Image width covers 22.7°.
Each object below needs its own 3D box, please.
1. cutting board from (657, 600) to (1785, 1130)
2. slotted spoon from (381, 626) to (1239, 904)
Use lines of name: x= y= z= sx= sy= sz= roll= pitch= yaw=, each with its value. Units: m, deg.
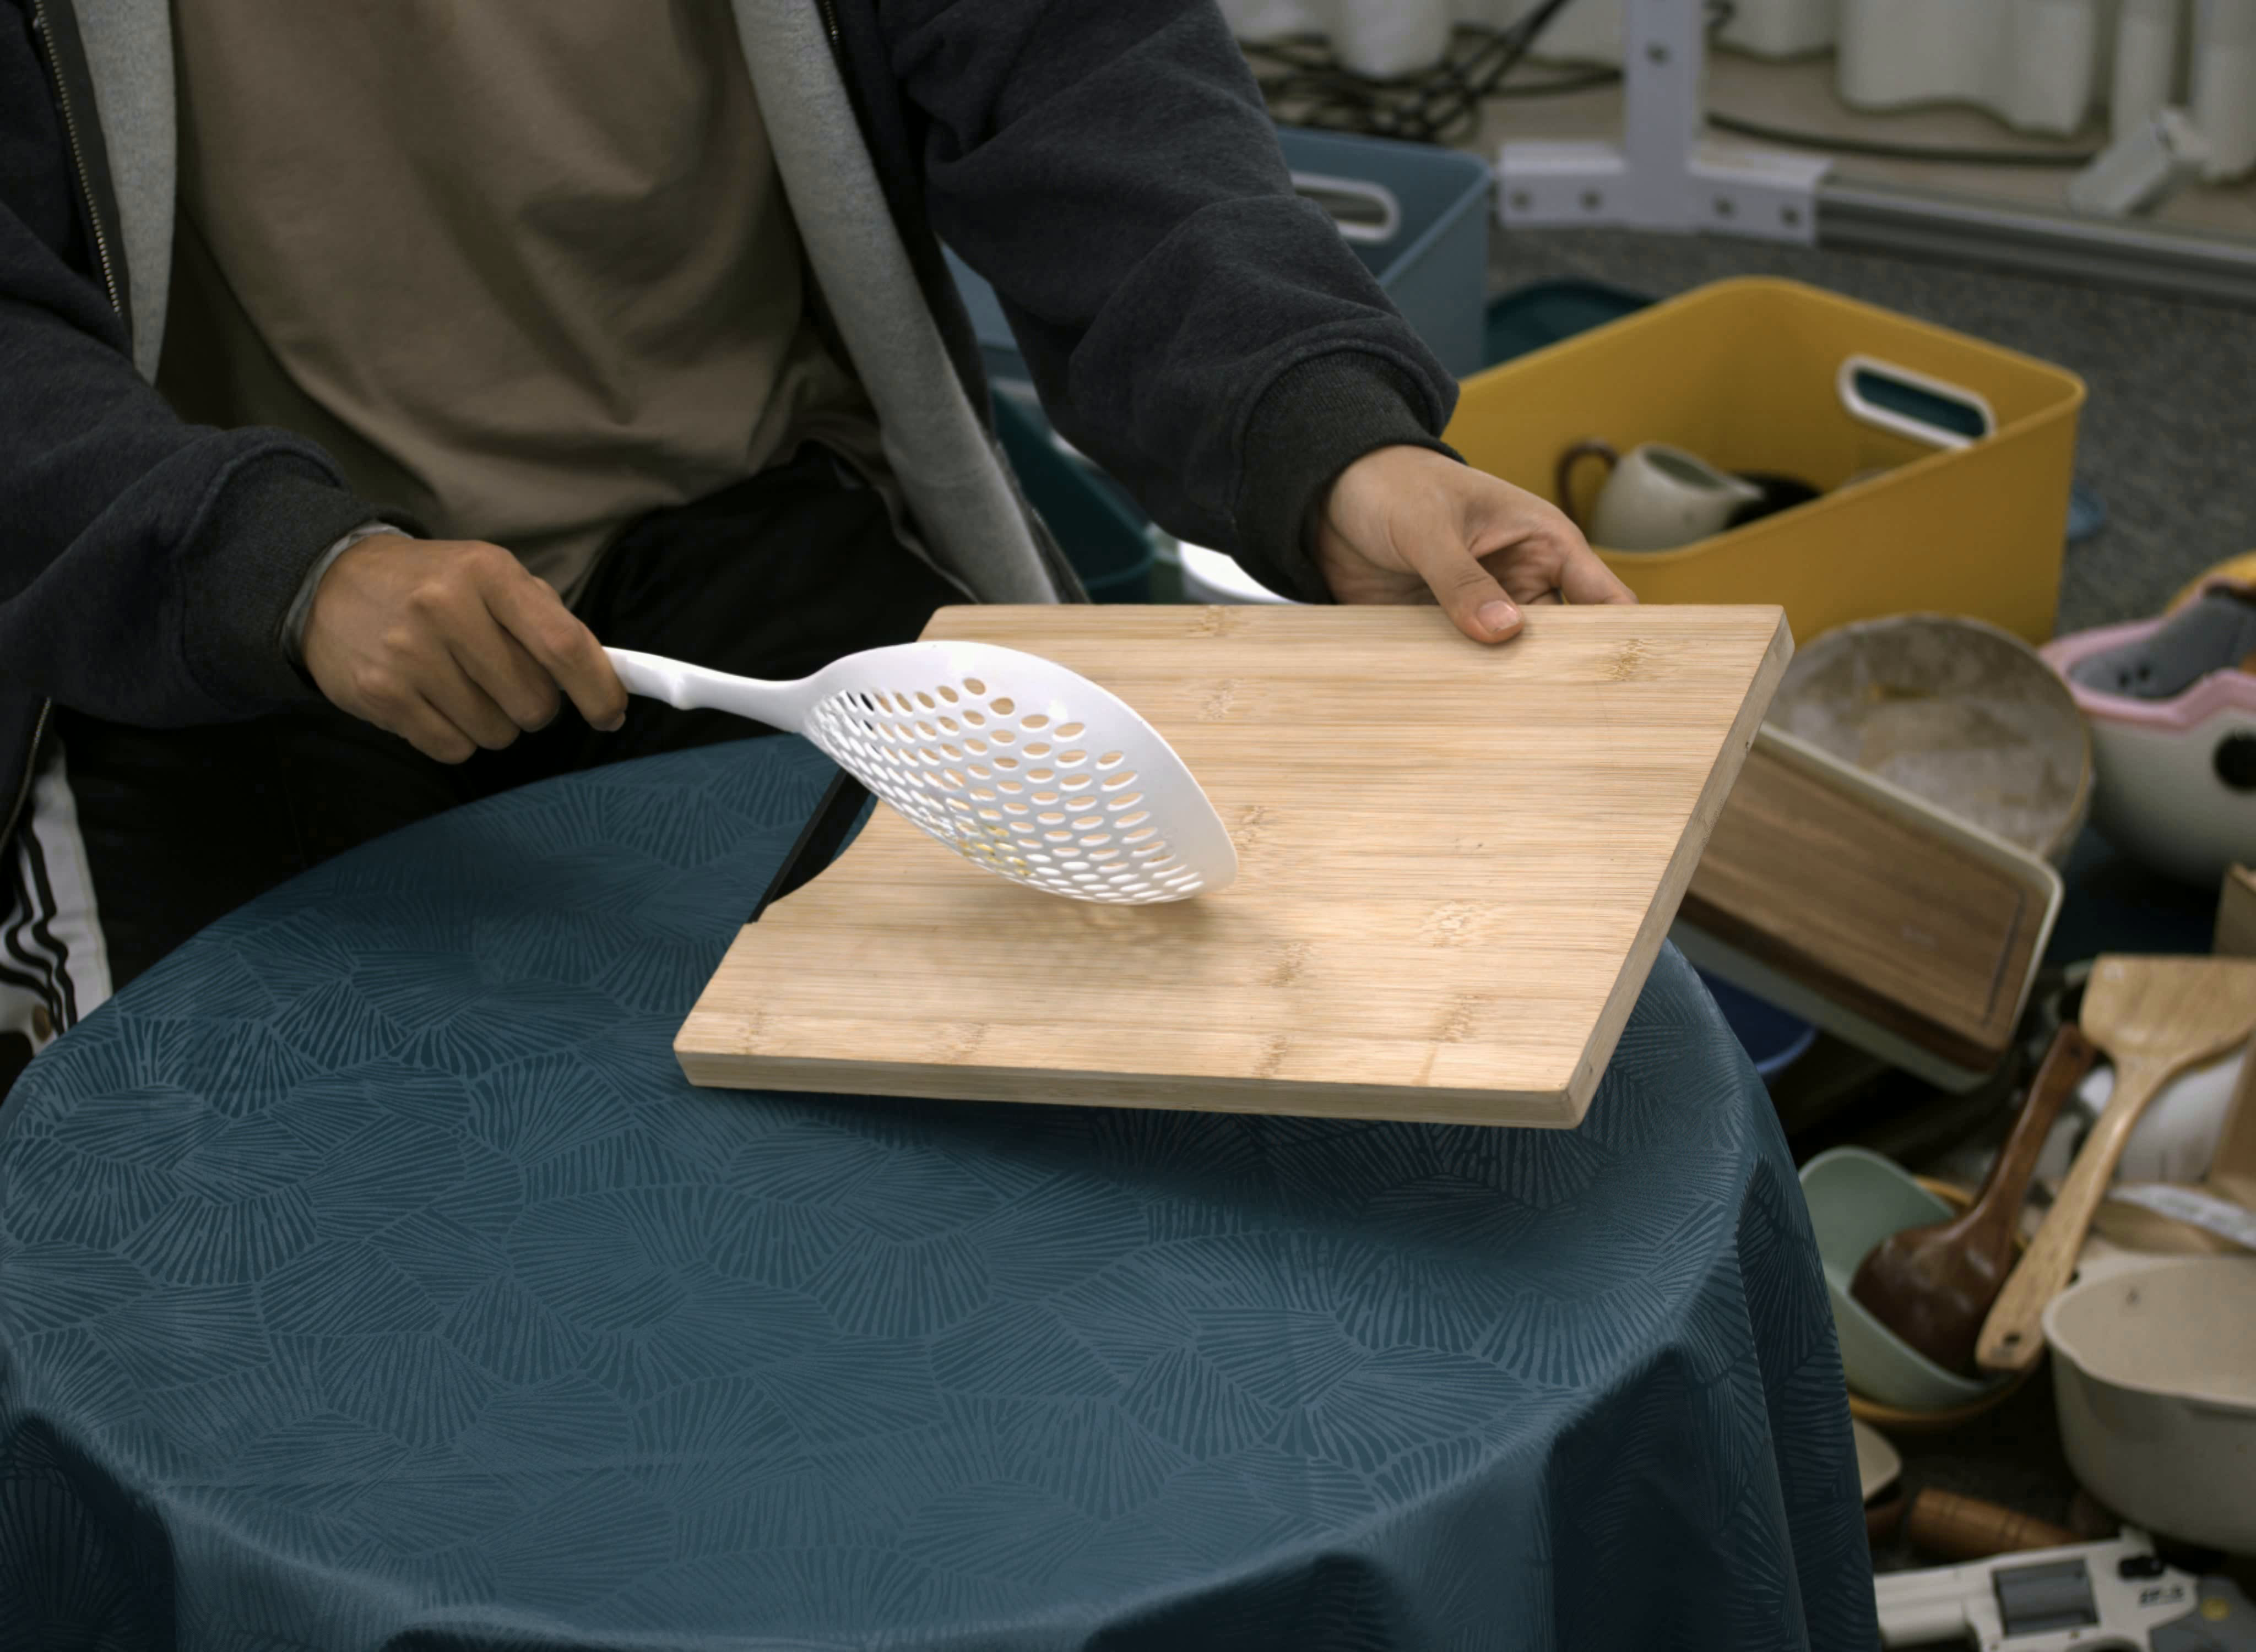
cutting board: x=0.032 y=0.007 z=1.938 sx=0.345 sy=0.023 sz=0.256 roll=0 pitch=41 yaw=28
slotted spoon: x=-0.117 y=-0.034 z=1.929 sx=0.346 sy=0.135 sz=0.051 roll=18 pitch=64 yaw=36
